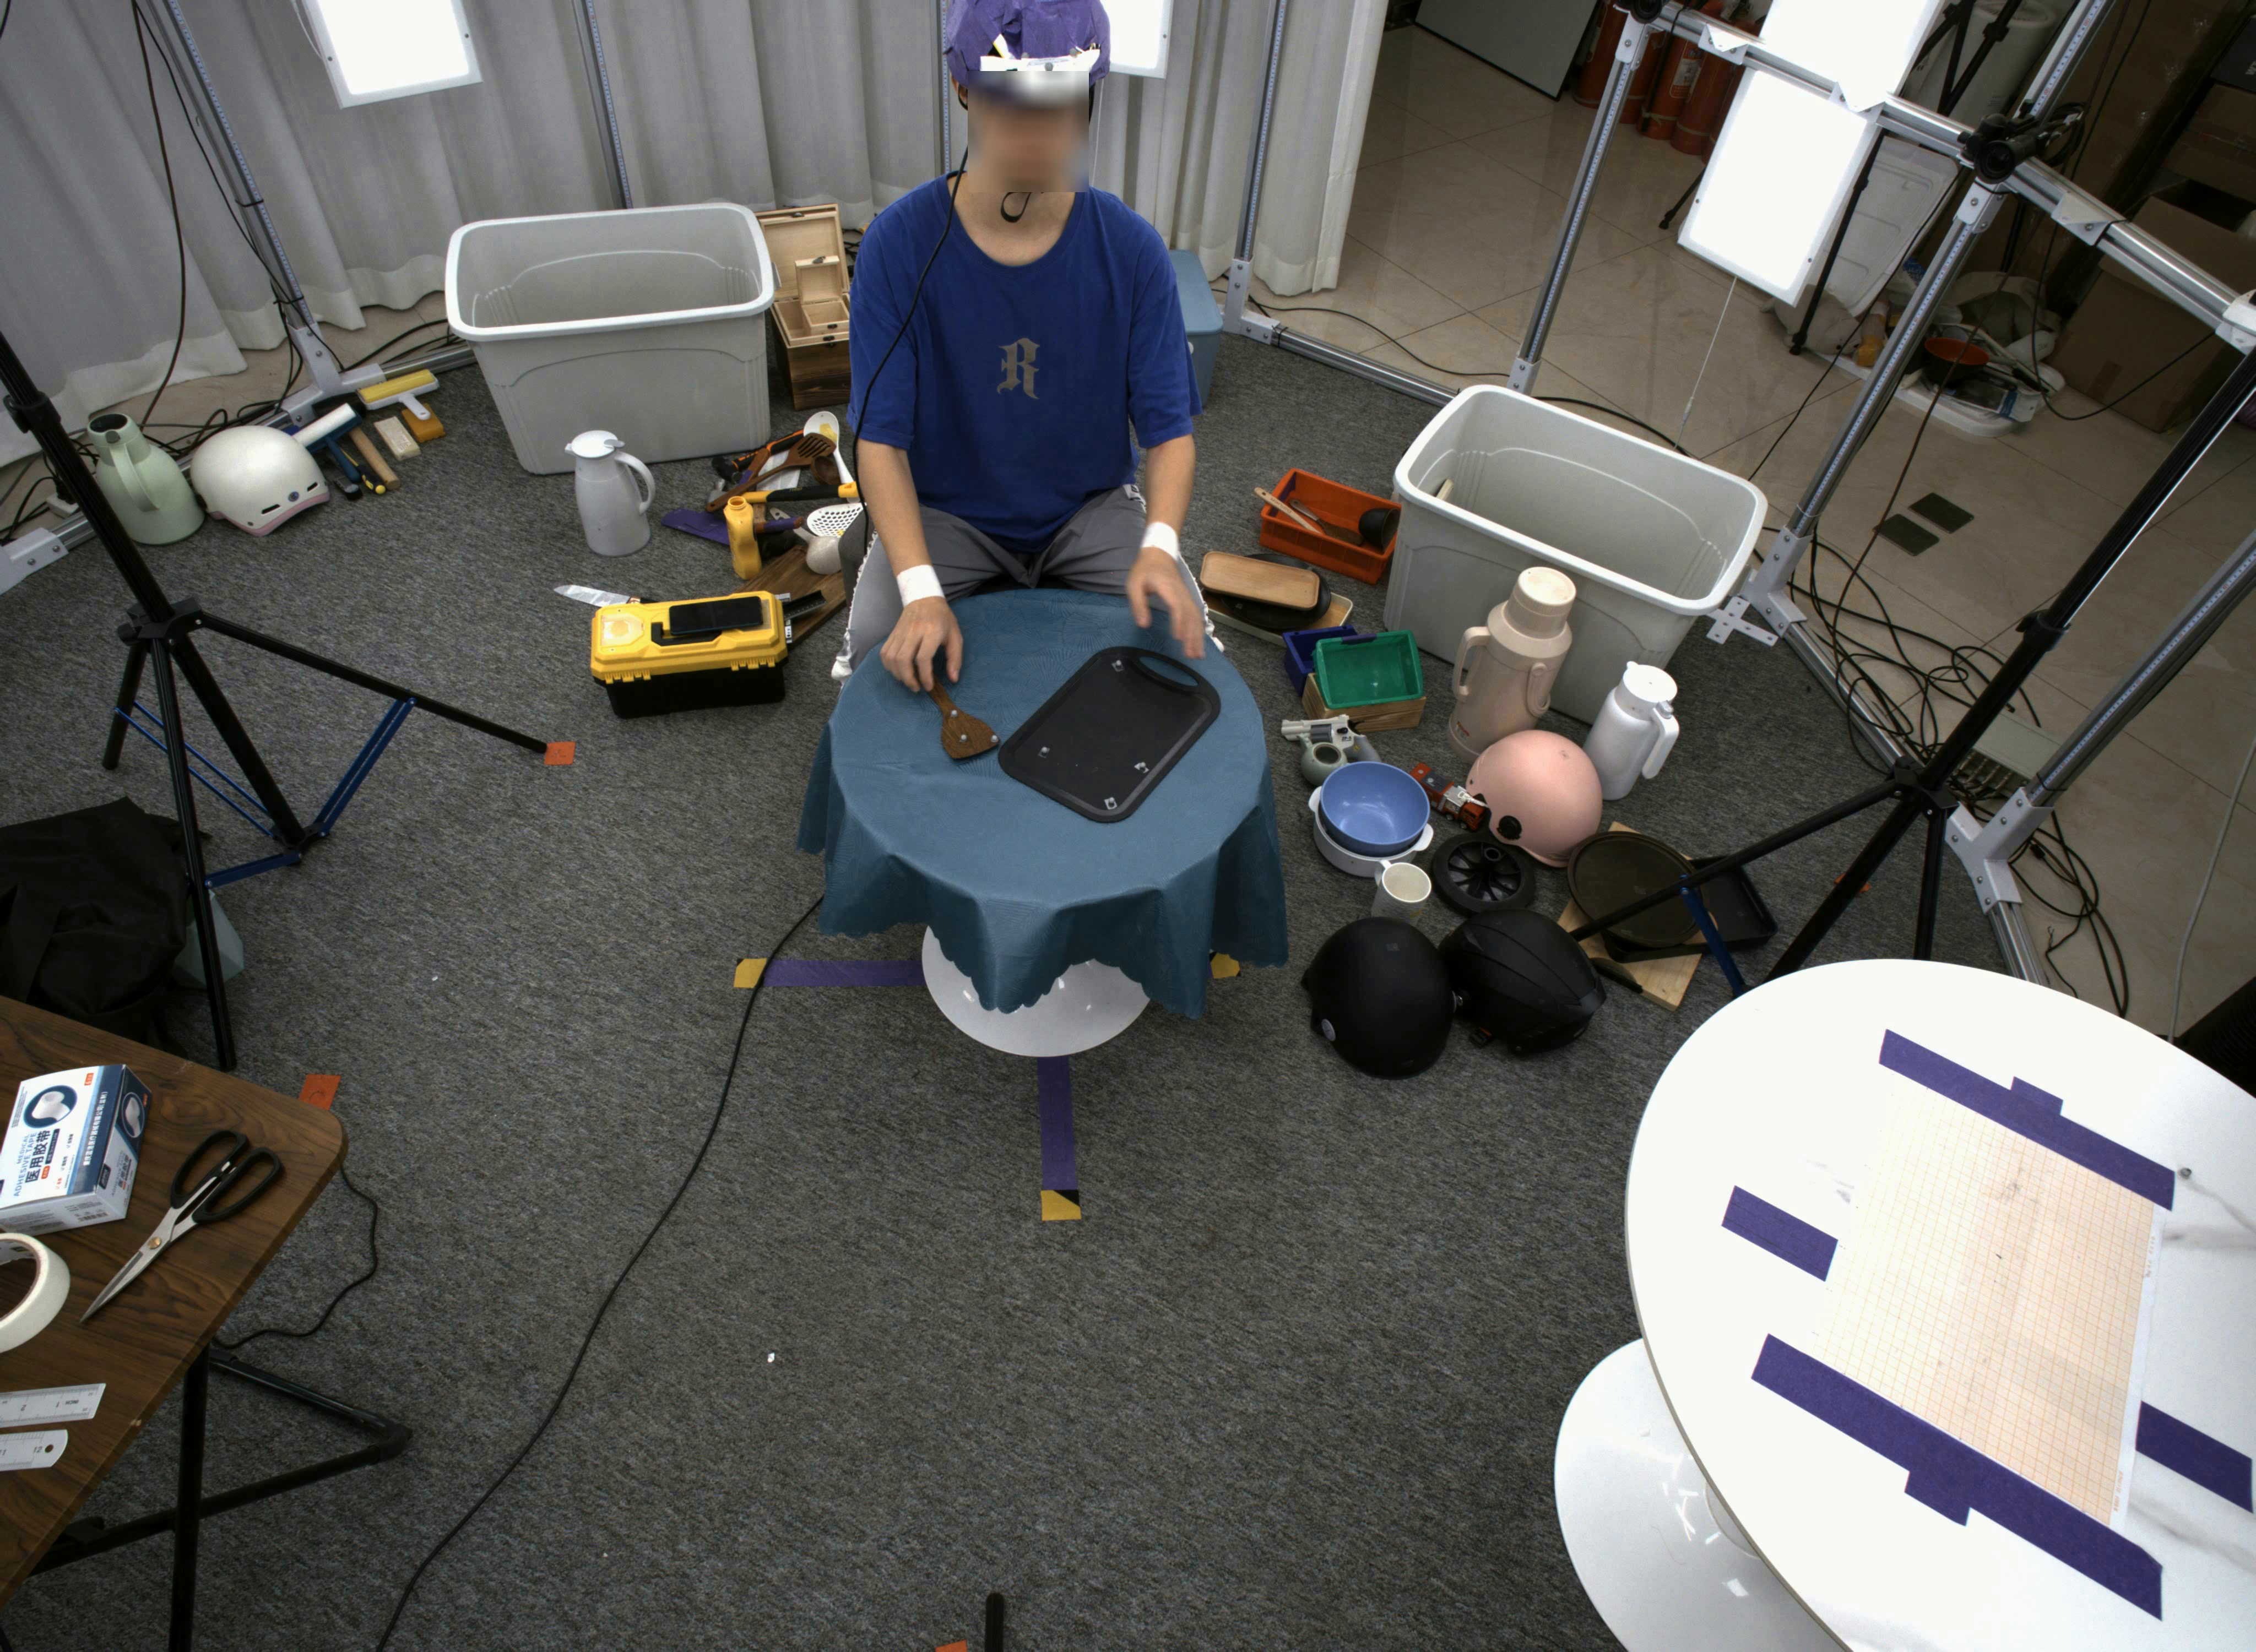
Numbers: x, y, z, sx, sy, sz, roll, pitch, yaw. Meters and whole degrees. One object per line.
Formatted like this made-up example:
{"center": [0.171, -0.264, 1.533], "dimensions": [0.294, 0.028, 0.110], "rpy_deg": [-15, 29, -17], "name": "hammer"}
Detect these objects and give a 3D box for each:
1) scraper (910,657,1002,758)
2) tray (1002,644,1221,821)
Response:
{"center": [-0.251, -0.169, 1.799], "dimensions": [0.076, 0.010, 0.216], "rpy_deg": [-20, 52, -21], "name": "scraper"}
{"center": [-0.015, -0.144, 1.792], "dimensions": [0.213, 0.009, 0.330], "rpy_deg": [28, 54, 19], "name": "tray"}
